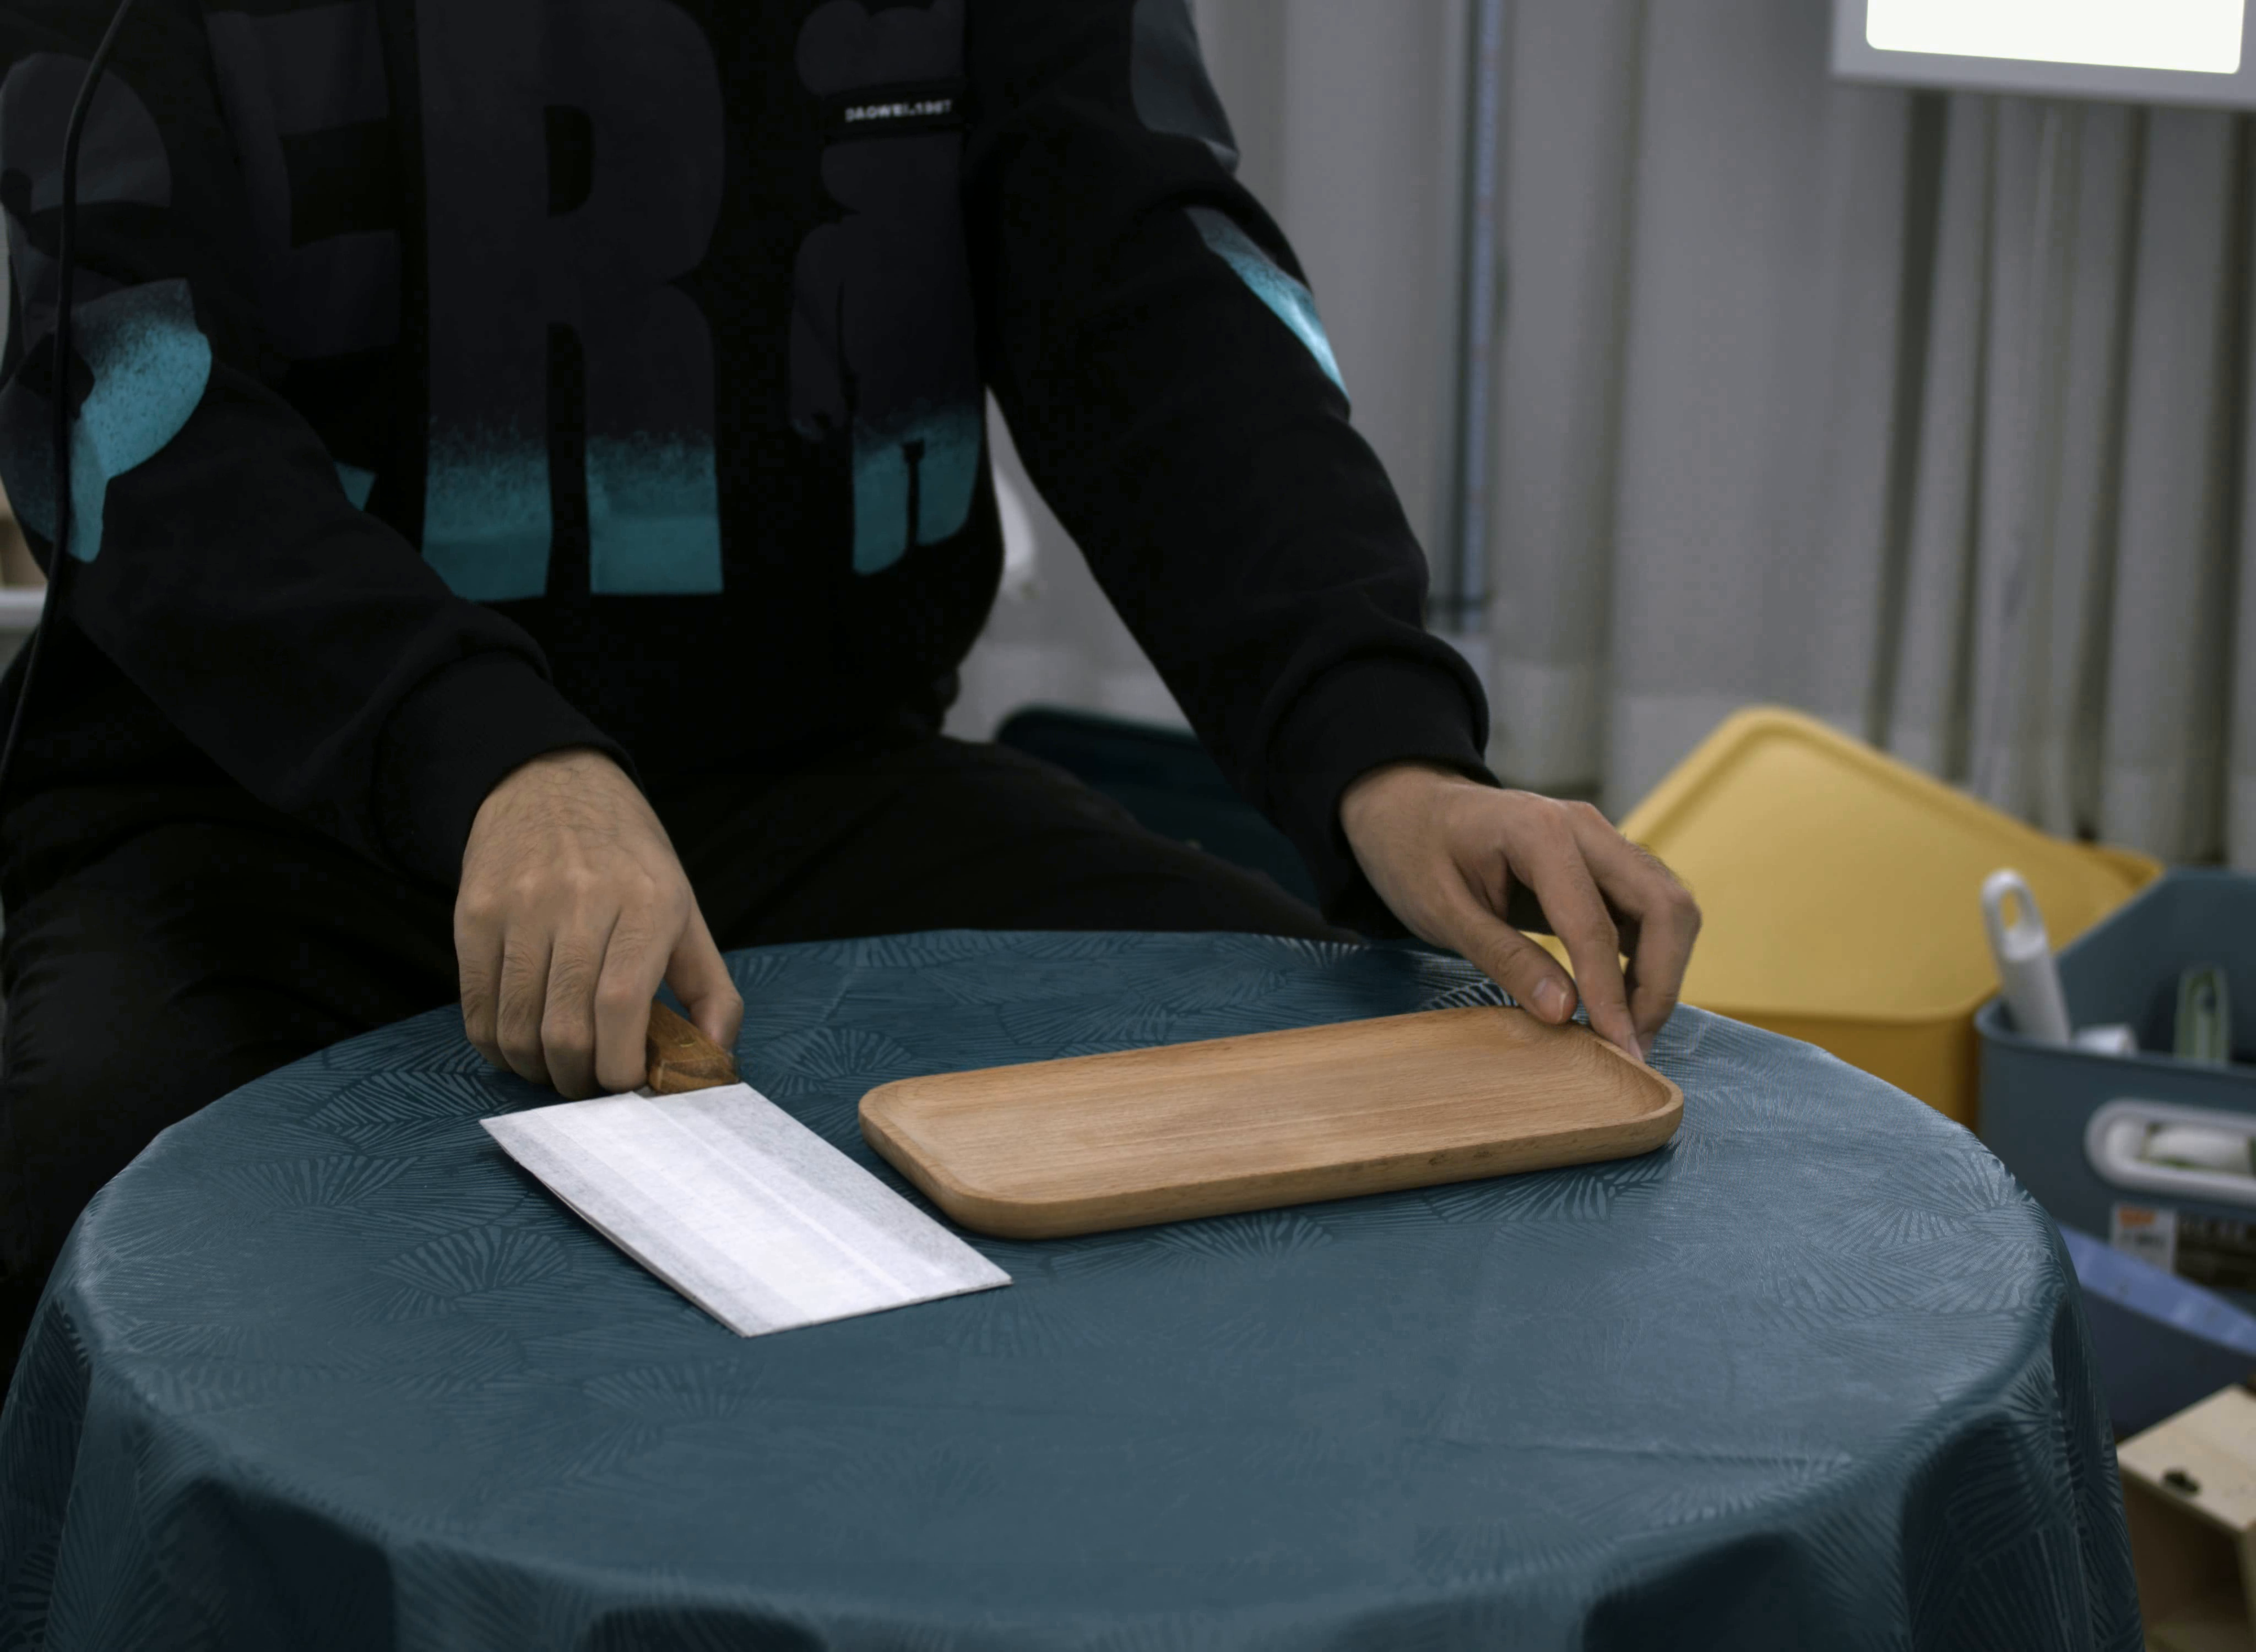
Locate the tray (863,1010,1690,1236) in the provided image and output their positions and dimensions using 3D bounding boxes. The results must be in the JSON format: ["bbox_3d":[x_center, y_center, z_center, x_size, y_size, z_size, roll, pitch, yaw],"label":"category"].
[{"bbox_3d":[0.047,0.093,1.665,0.251,0.023,0.129,-5,19,-21],"label":"tray"}]

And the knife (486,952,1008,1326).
[{"bbox_3d":[-0.145,0.097,1.643,0.093,0.021,0.301,-10,21,-29],"label":"knife"}]
